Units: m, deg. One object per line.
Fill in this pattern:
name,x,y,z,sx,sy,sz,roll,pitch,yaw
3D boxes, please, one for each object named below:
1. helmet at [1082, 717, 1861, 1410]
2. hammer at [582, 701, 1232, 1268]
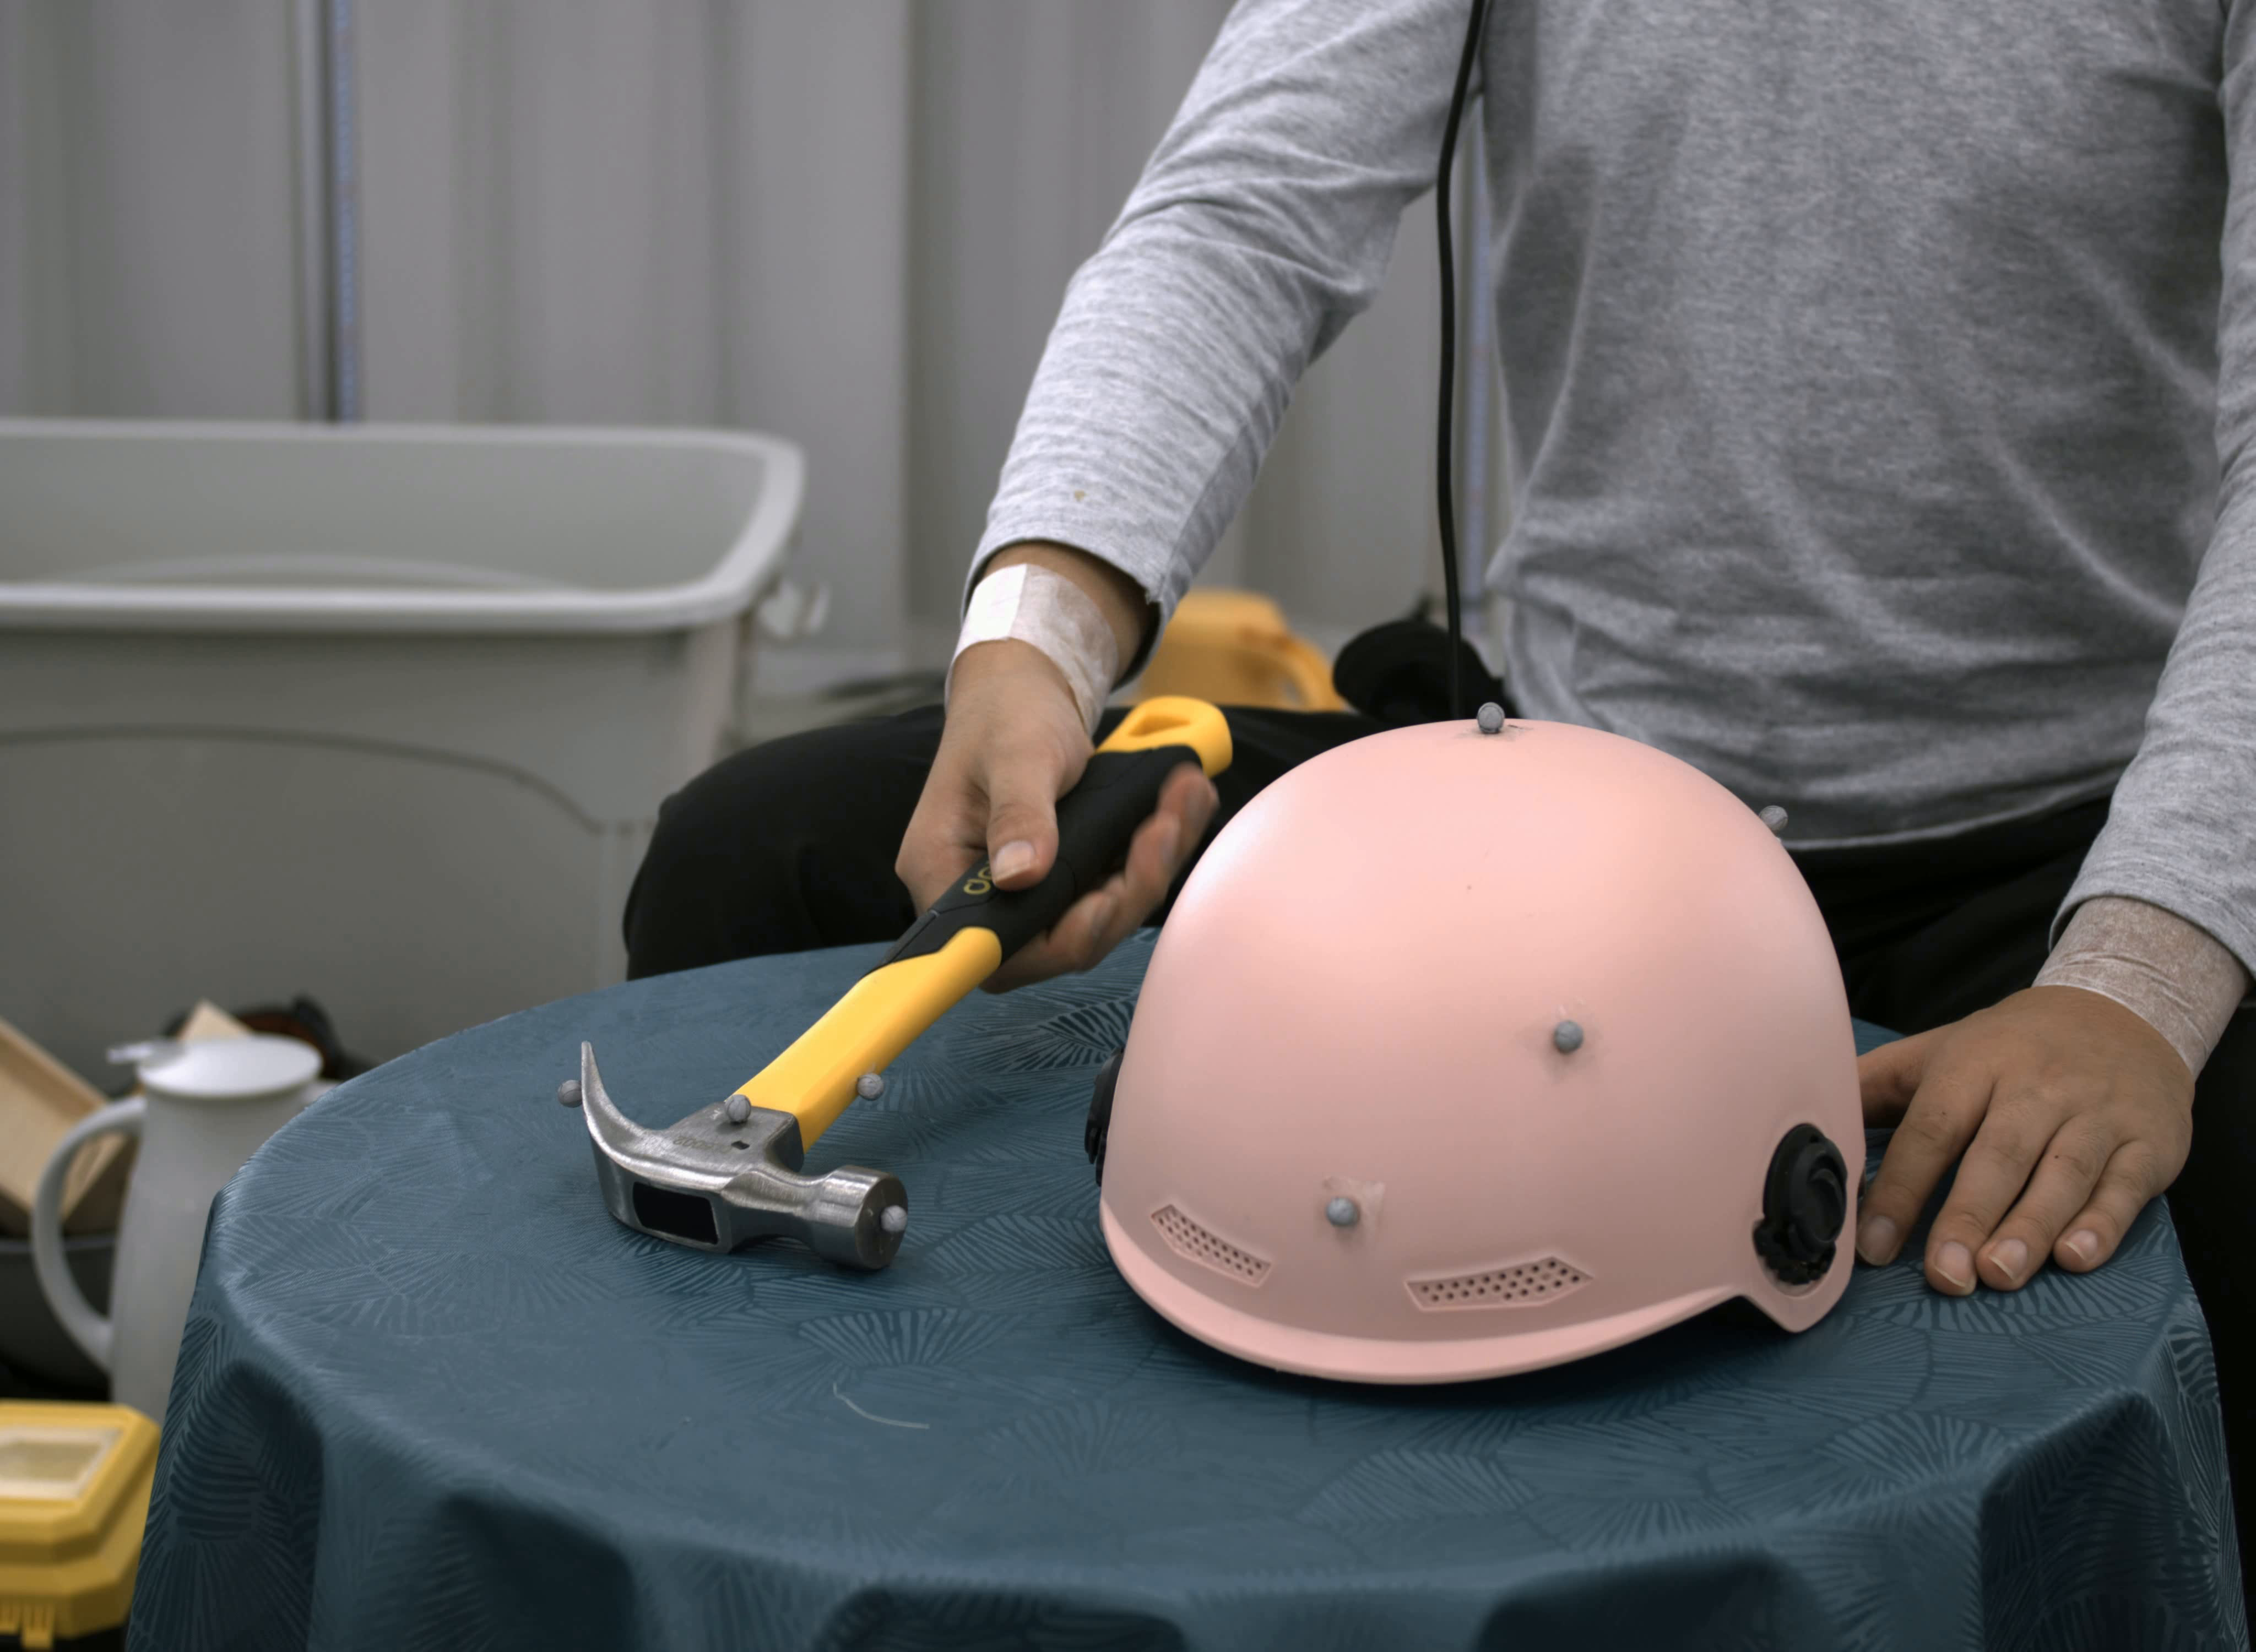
helmet,0.103,0.055,1.553,0.232,0.160,0.266,7,21,20
hammer,-0.057,0.040,1.696,0.130,0.032,0.338,8,30,28
